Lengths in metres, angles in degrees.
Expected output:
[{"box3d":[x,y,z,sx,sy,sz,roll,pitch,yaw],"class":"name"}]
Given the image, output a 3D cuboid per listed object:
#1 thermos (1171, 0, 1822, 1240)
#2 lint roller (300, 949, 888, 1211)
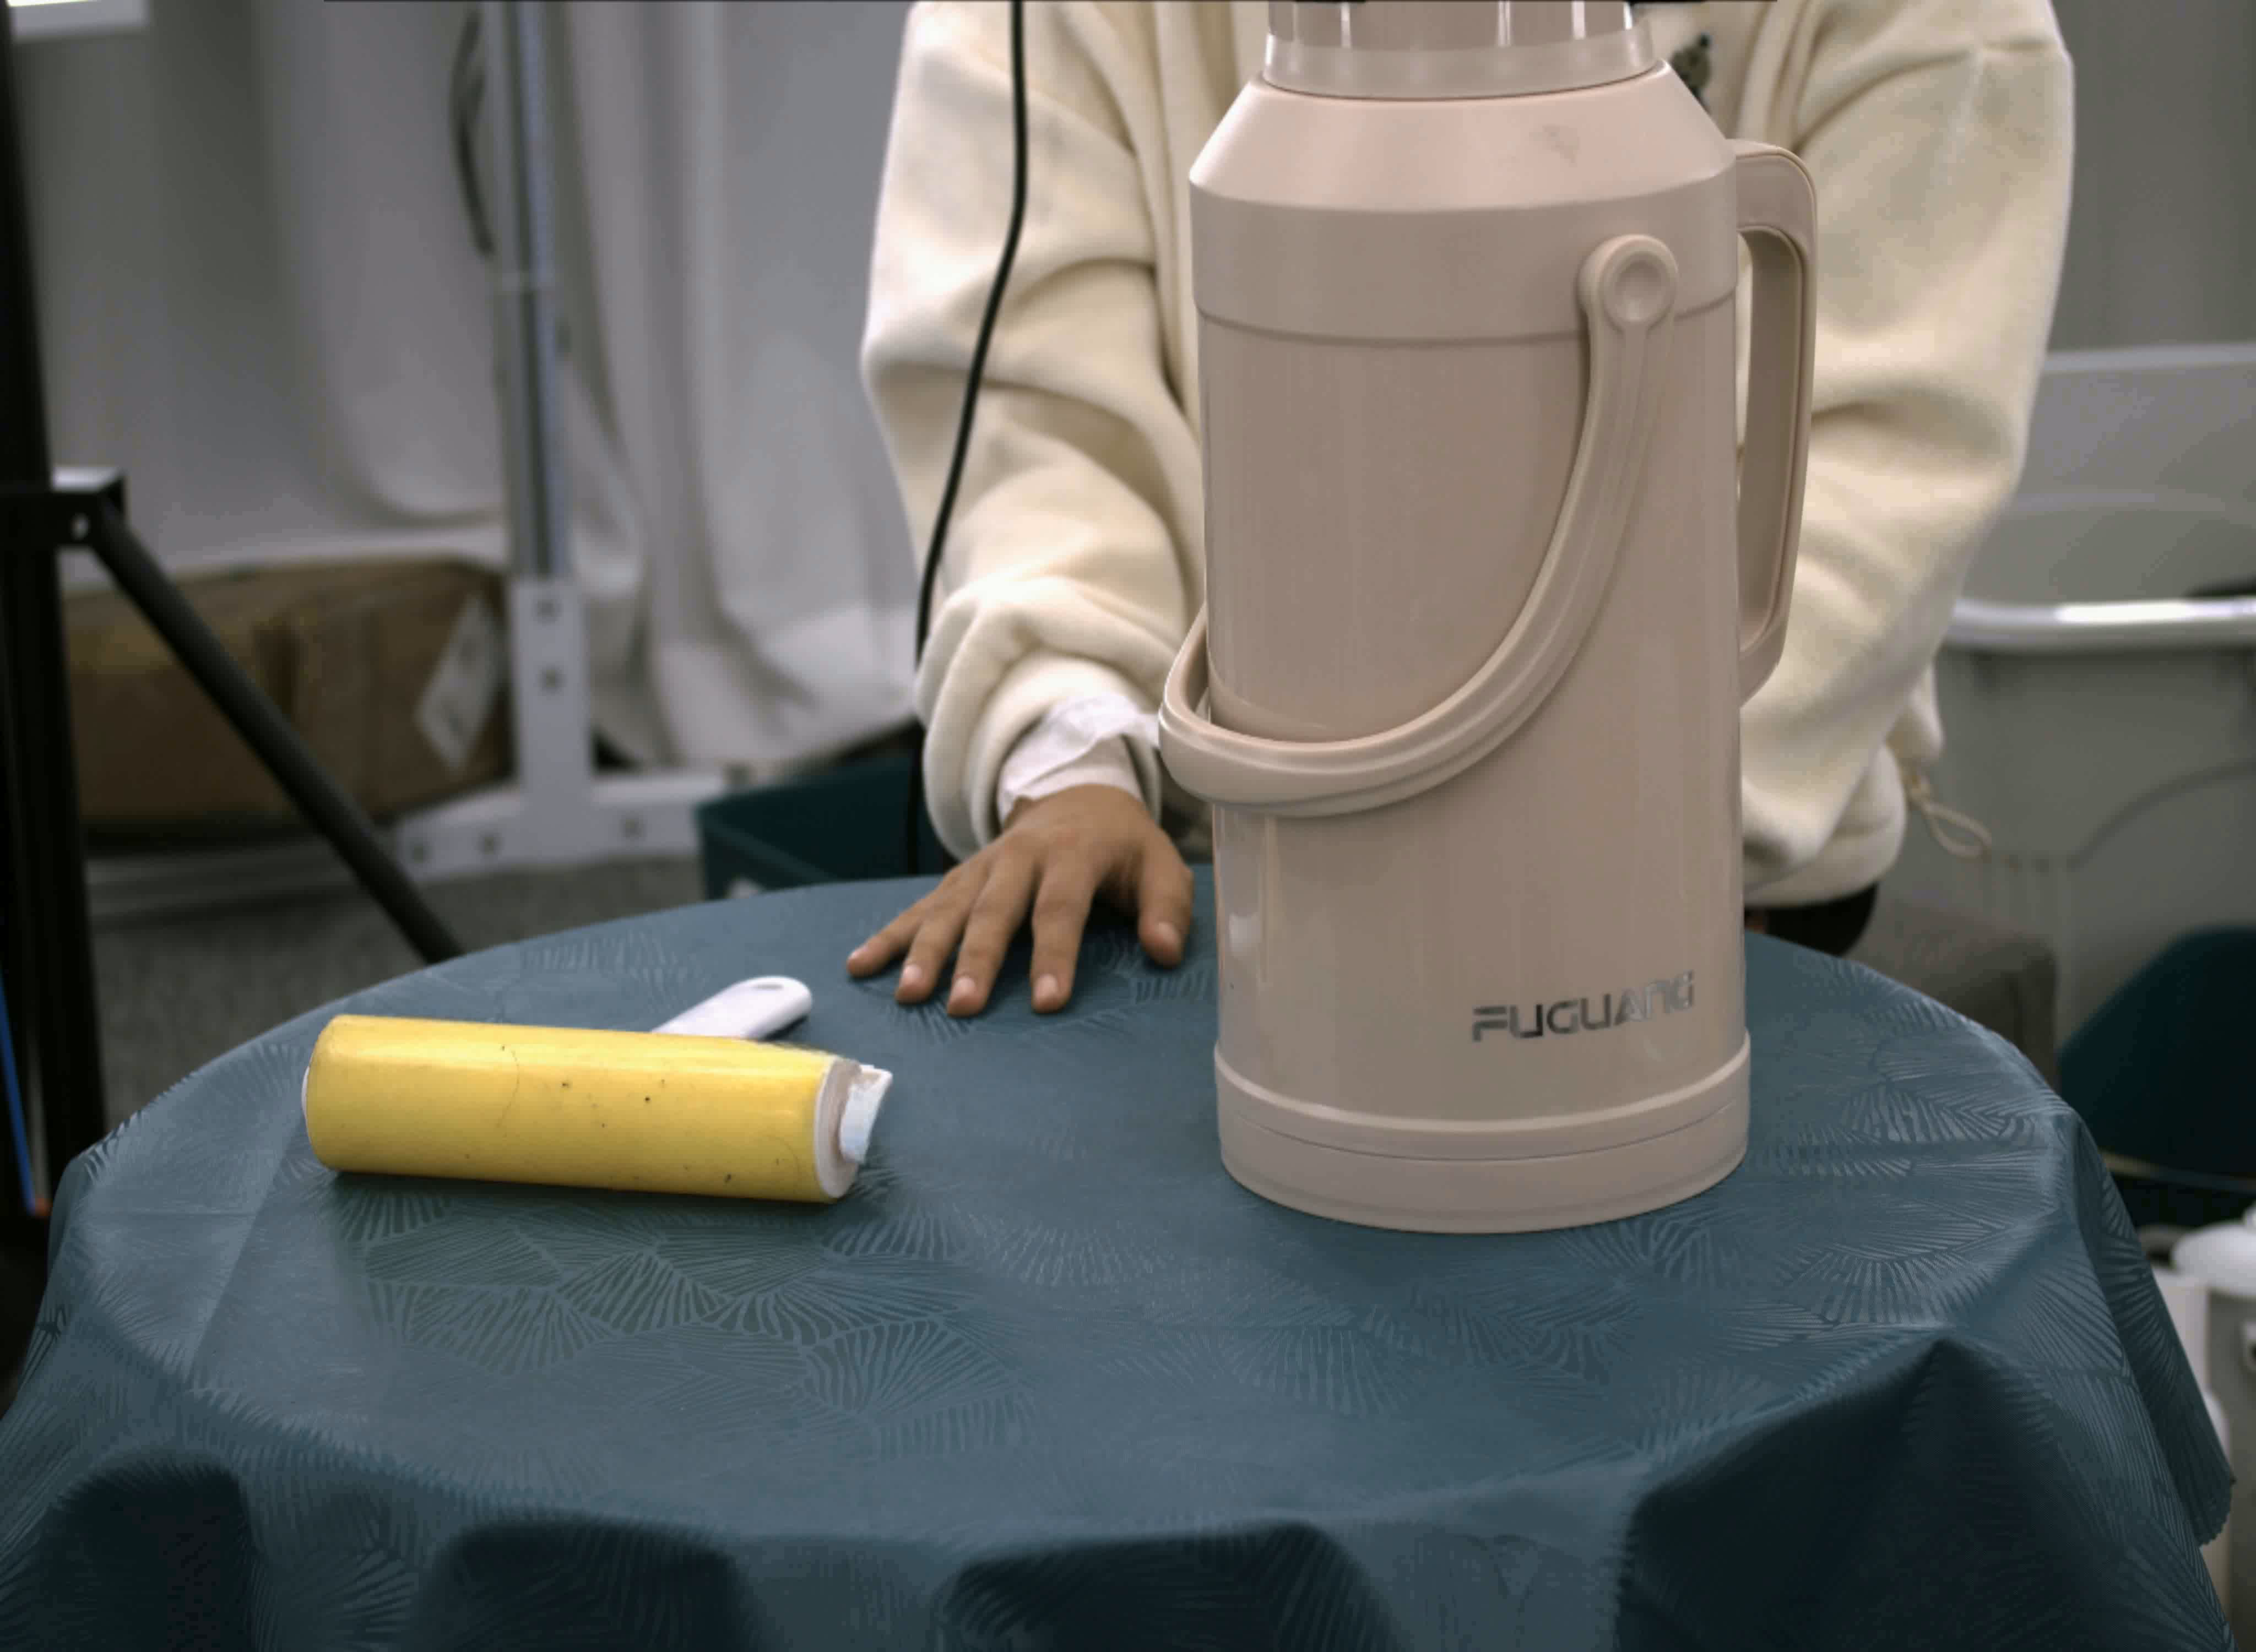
[{"box3d":[0.111,-0.096,1.536,0.202,0.406,0.179,-10,16,-27],"class":"thermos"},{"box3d":[-0.144,0.061,1.648,0.176,0.051,0.191,2,23,16],"class":"lint roller"}]
